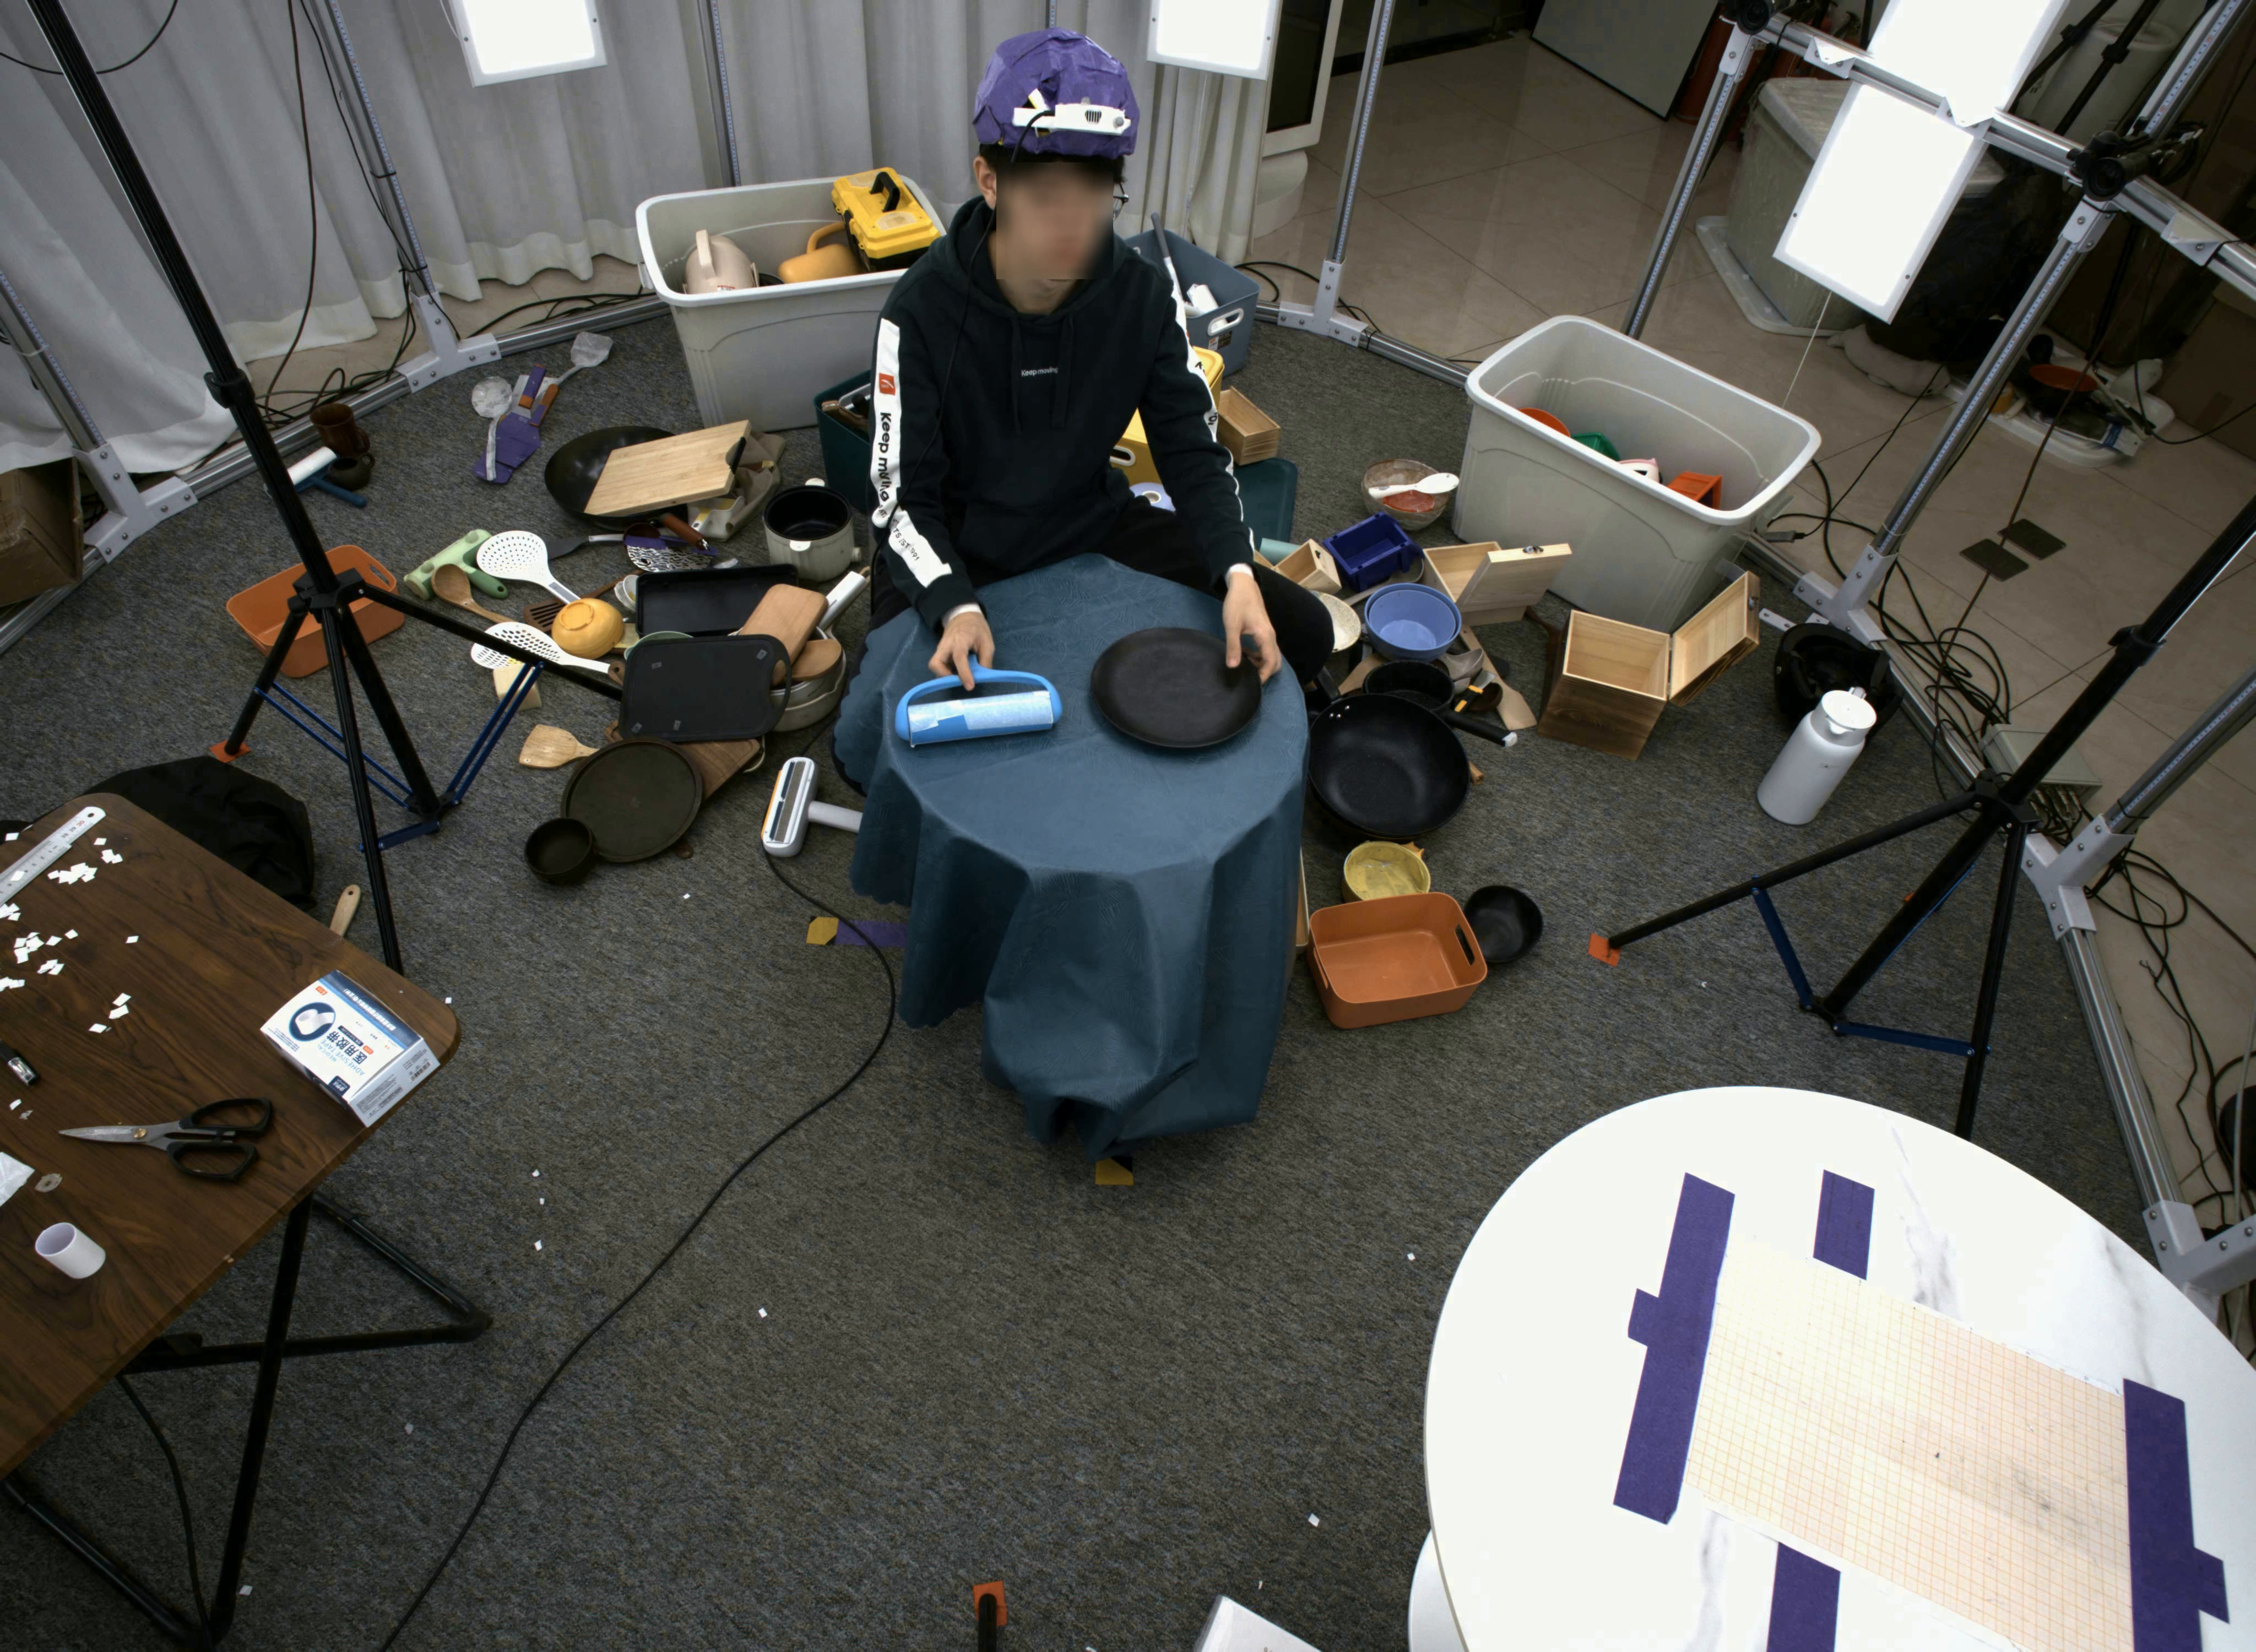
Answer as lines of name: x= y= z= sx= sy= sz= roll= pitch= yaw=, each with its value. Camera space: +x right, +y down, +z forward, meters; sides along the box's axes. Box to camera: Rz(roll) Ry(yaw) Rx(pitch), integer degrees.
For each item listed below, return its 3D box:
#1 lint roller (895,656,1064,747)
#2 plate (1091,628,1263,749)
lint roller: x=-0.216 y=-0.191 z=1.784 sx=0.229 sy=0.066 sz=0.185 roll=-10 pitch=50 yaw=-11
plate: x=0.069 y=-0.193 z=1.825 sx=0.244 sy=0.023 sz=0.250 roll=2 pitch=49 yaw=-2
